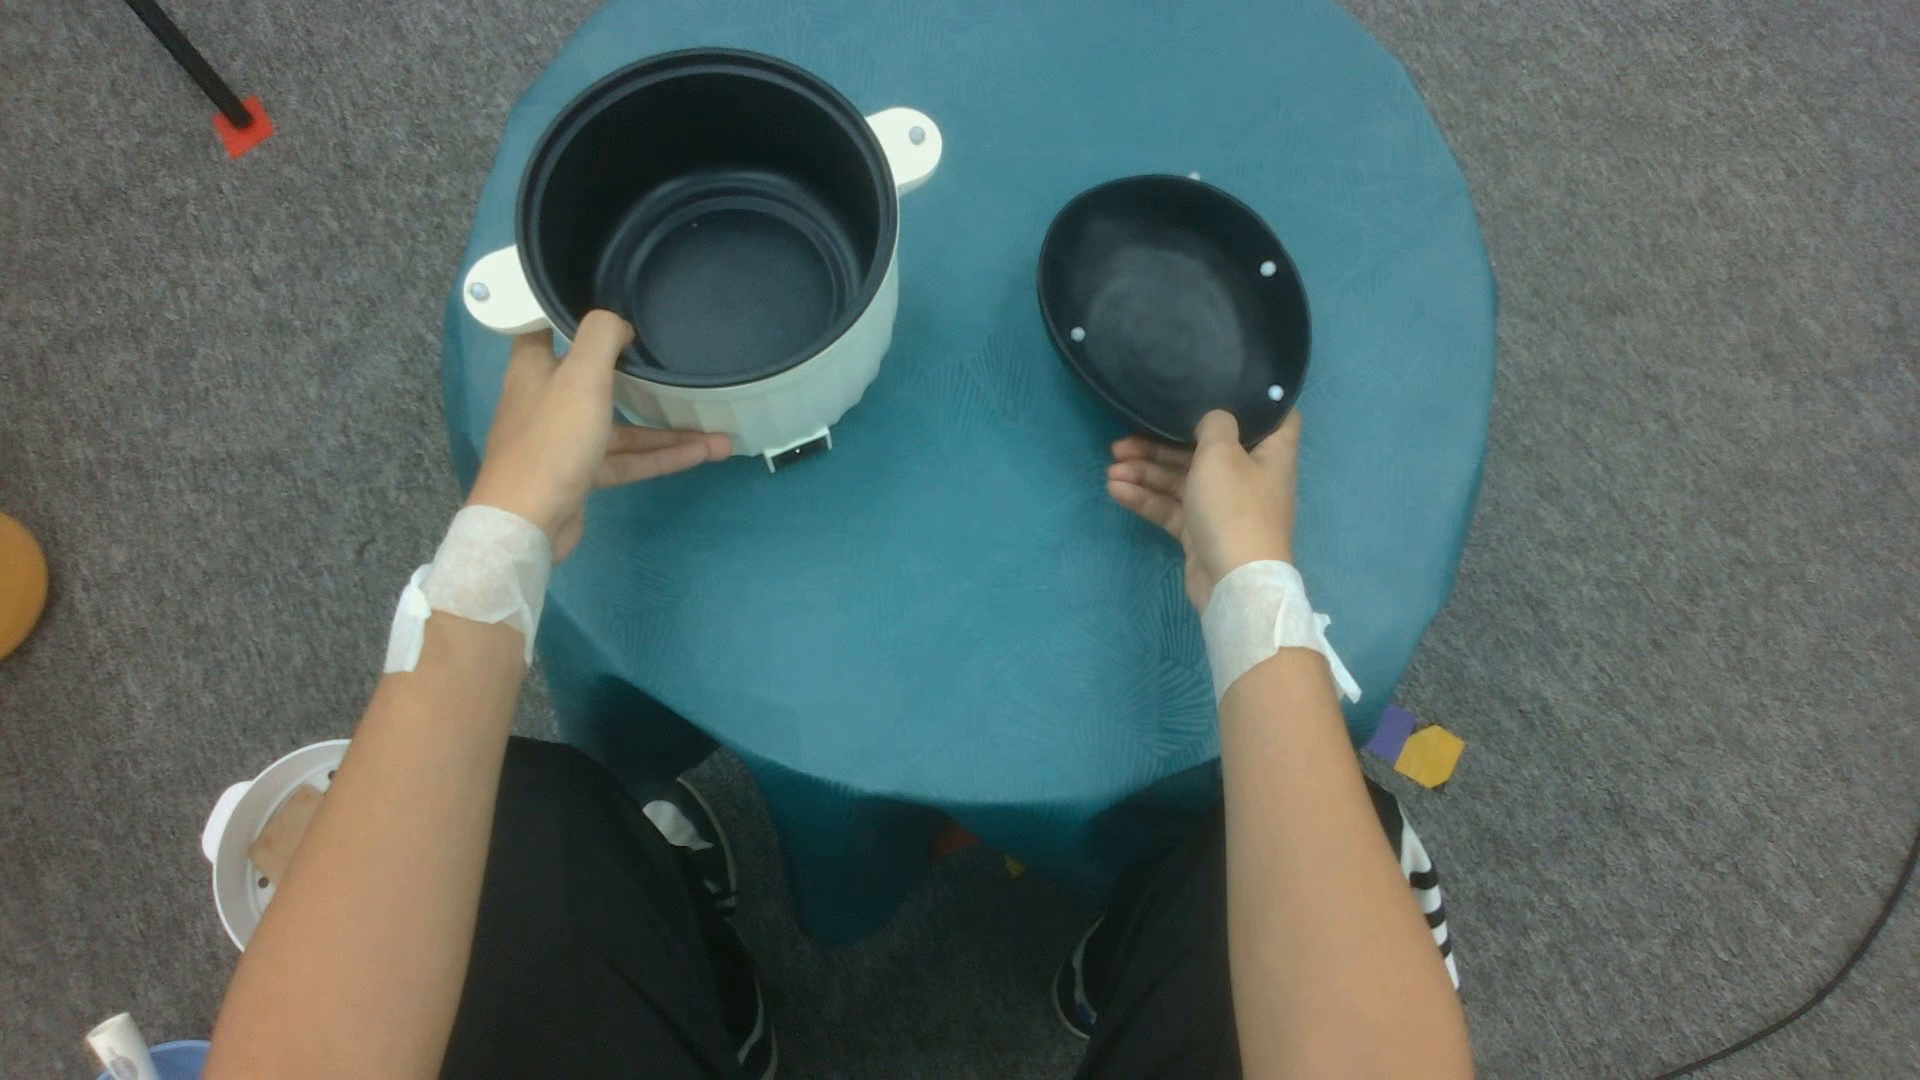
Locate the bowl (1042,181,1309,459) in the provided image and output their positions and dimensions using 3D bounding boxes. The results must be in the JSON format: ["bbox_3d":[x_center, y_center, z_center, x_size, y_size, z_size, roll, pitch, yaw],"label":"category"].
[{"bbox_3d":[0.119,-0.118,0.776,0.137,0.066,0.170,-34,77,-9],"label":"bowl"}]

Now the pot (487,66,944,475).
[{"bbox_3d":[-0.123,-0.140,0.739,0.241,0.142,0.191,-24,78,-9],"label":"pot"}]
